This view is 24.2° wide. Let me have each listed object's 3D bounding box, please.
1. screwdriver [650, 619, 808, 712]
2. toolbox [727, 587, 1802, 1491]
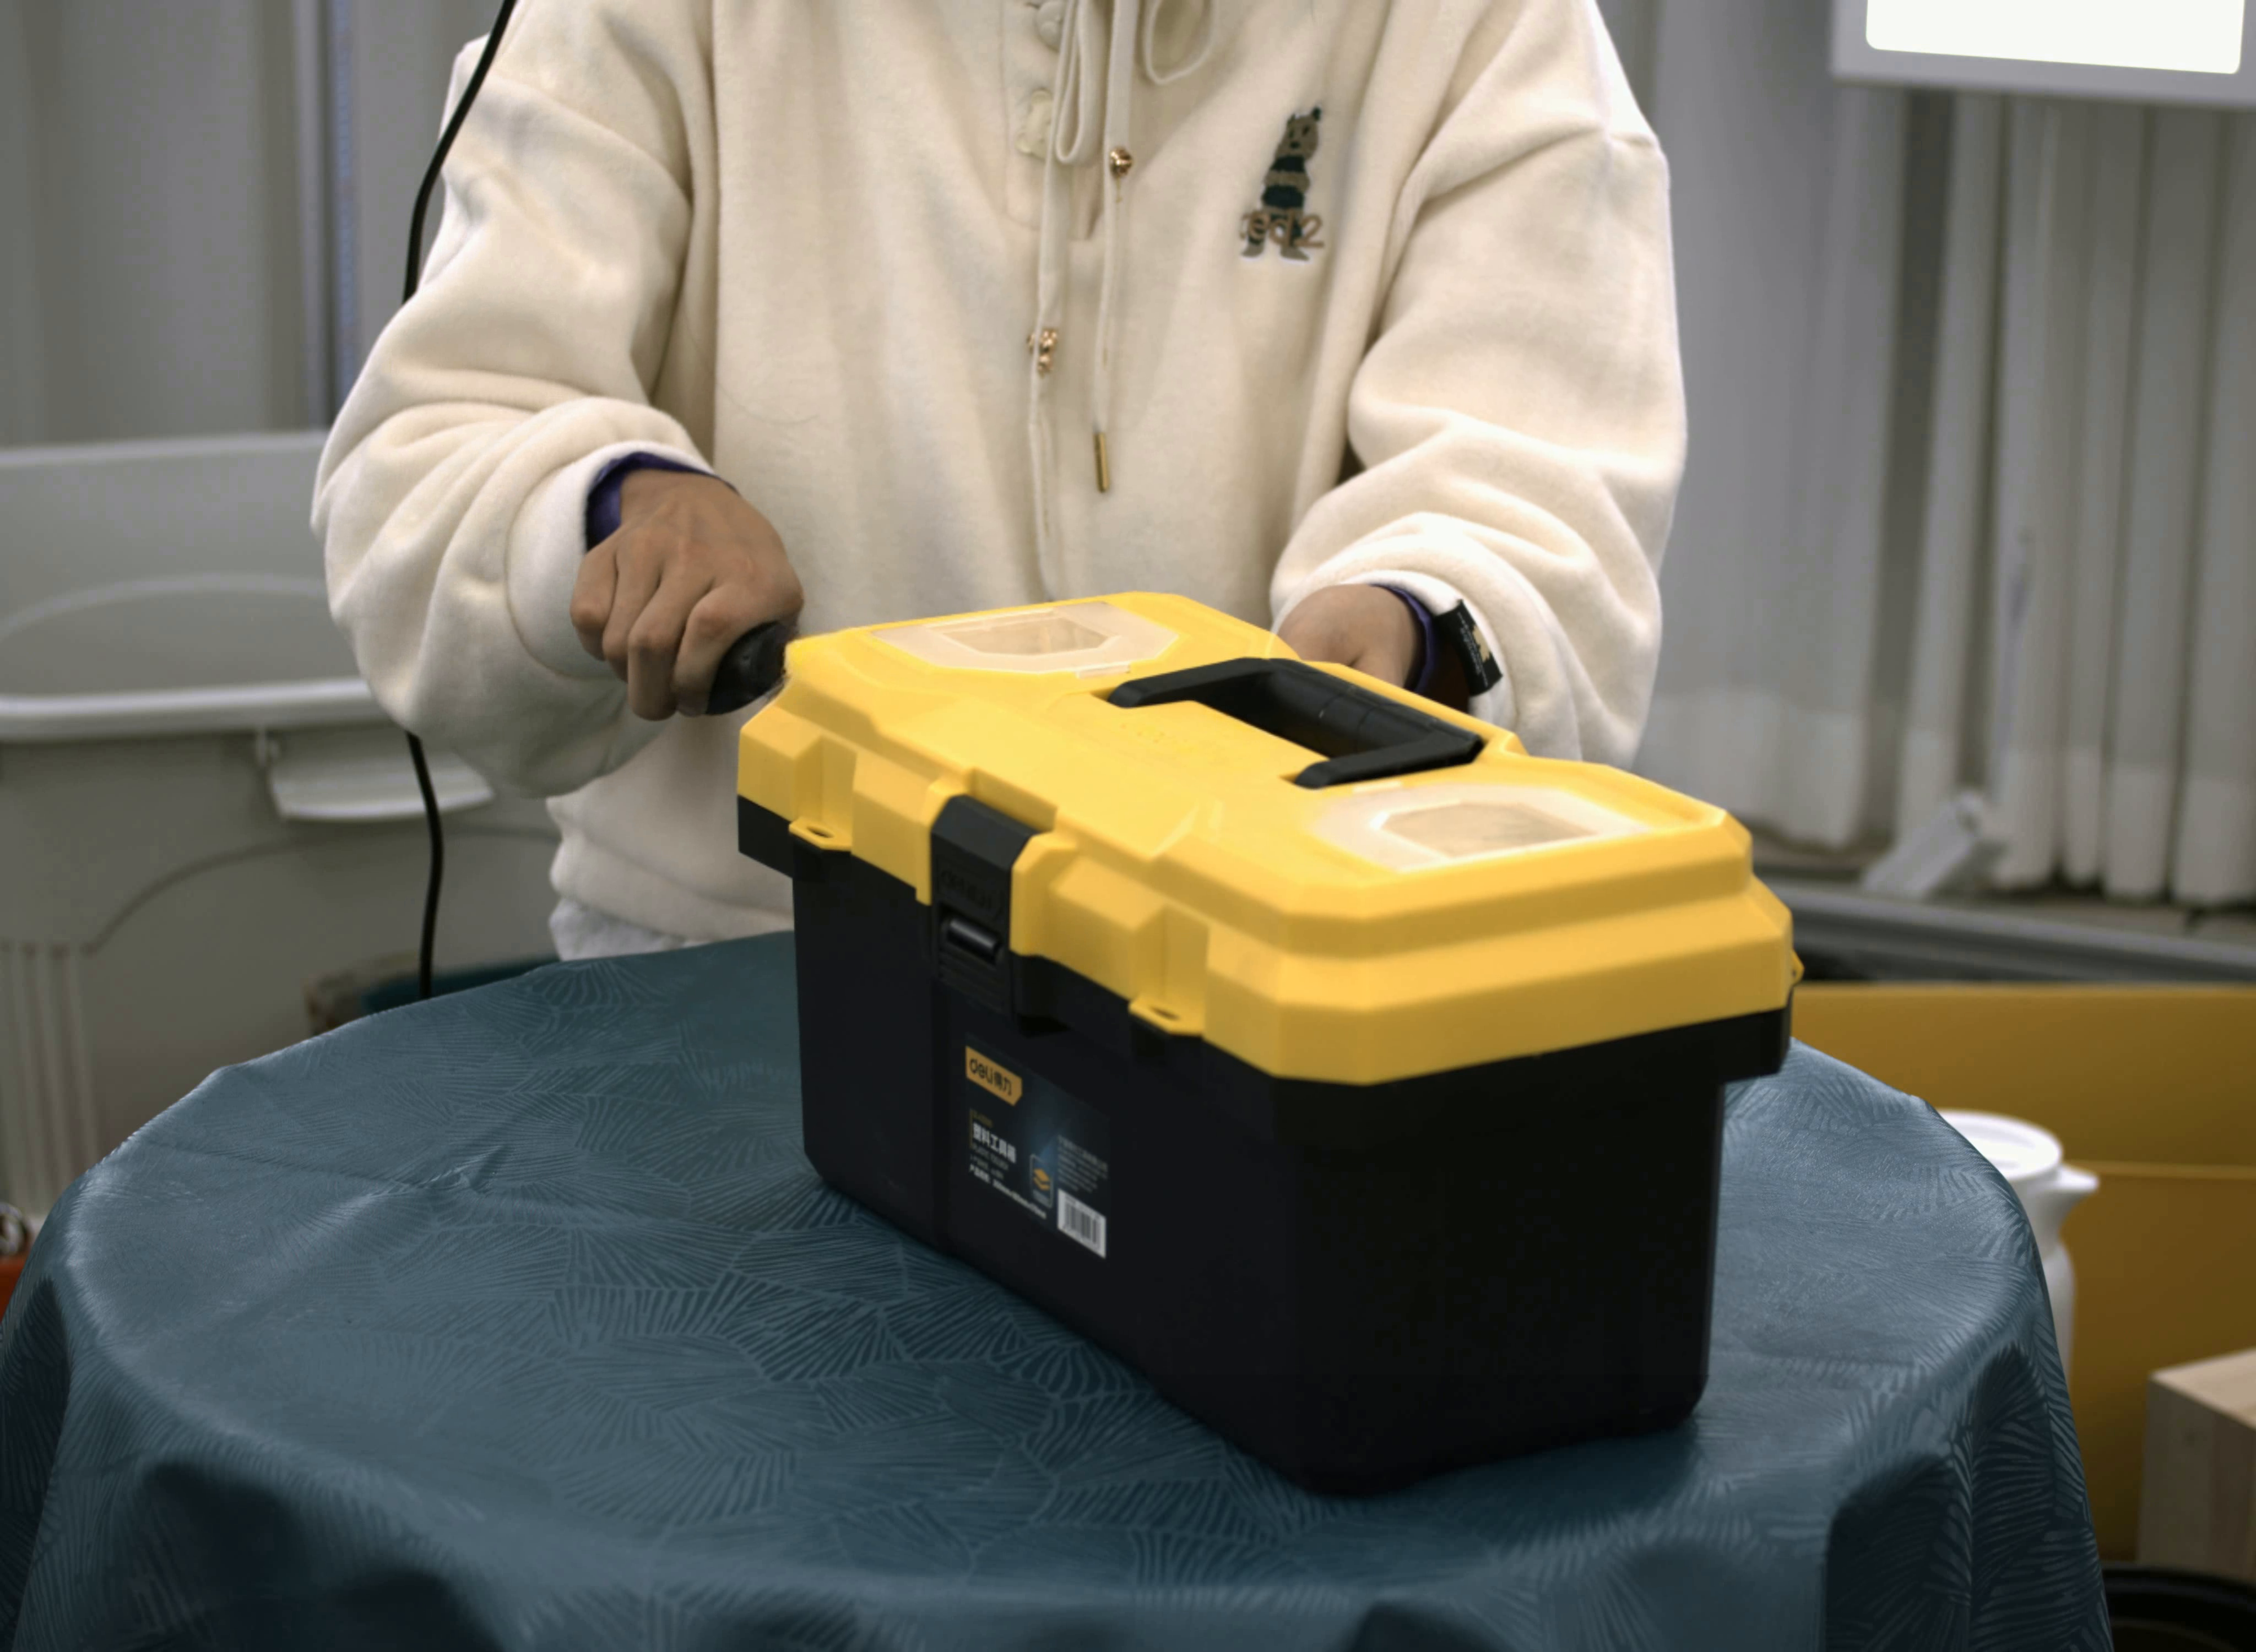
[{"bbox_3d":[-0.114,-0.055,1.707,0.031,0.031,0.195,-7,2,-24],"label":"screwdriver"},{"bbox_3d":[0.030,0.052,1.515,0.182,0.174,0.347,-8,18,-29],"label":"toolbox"}]
